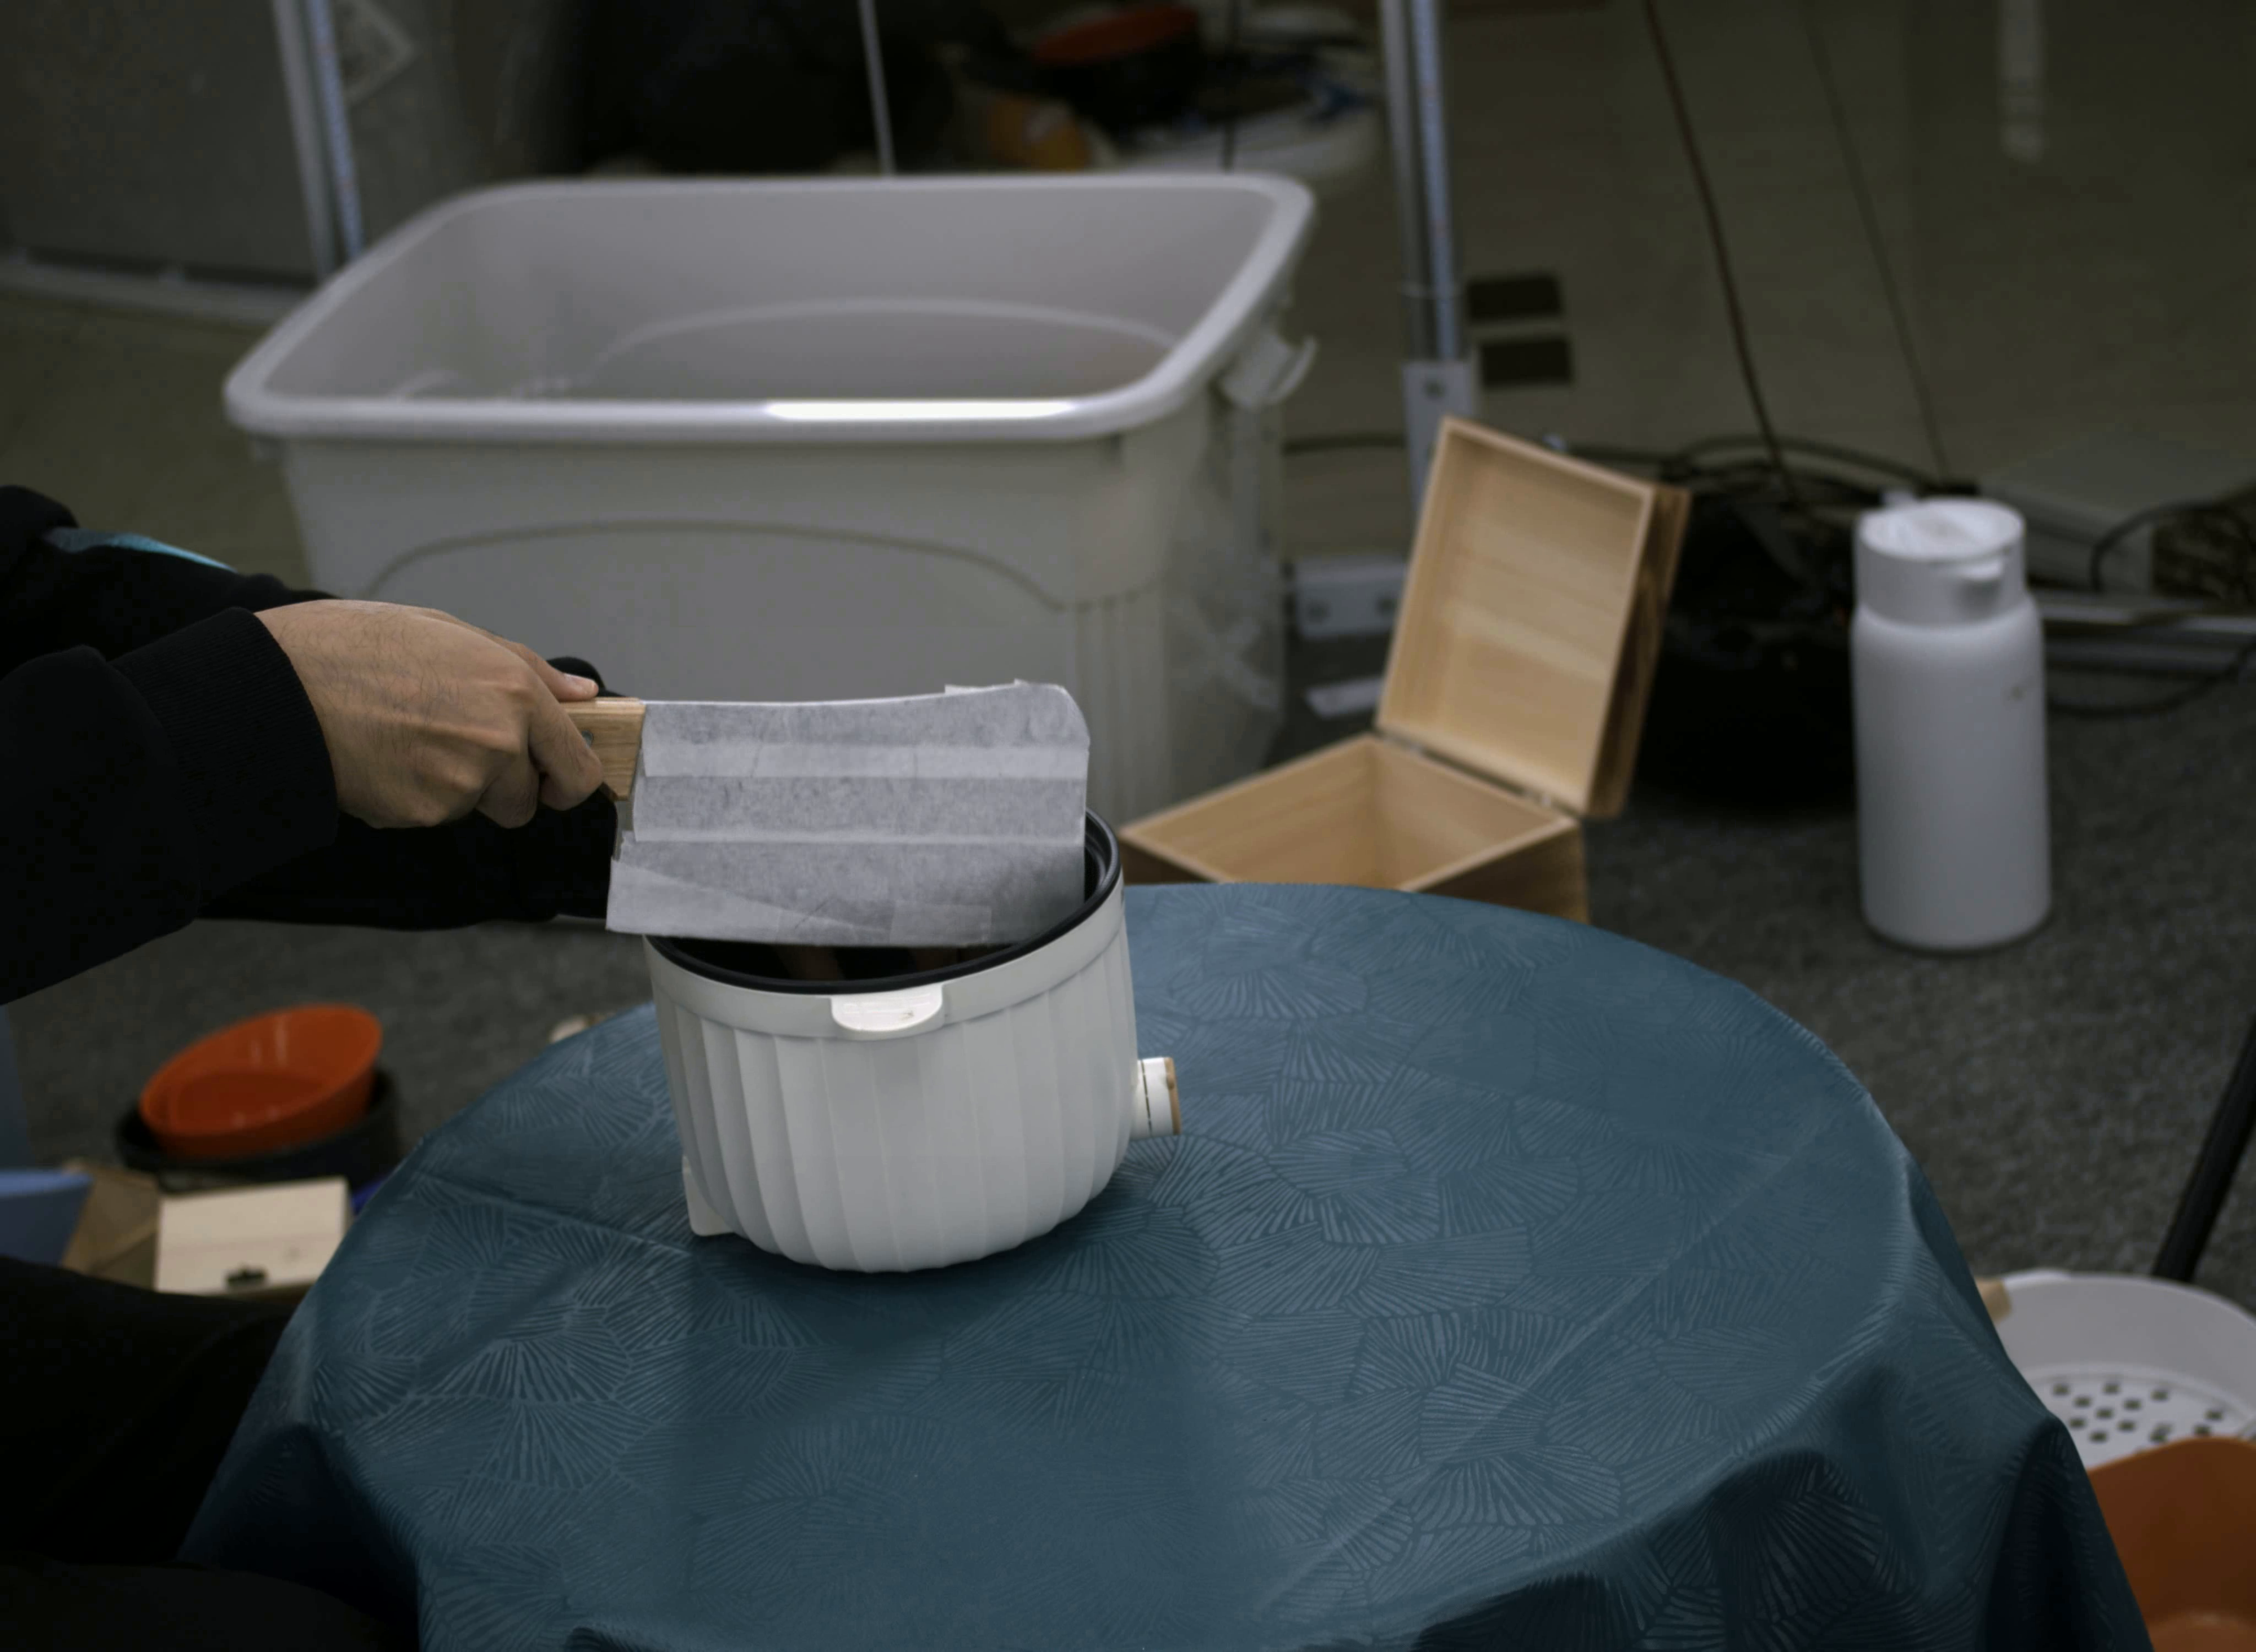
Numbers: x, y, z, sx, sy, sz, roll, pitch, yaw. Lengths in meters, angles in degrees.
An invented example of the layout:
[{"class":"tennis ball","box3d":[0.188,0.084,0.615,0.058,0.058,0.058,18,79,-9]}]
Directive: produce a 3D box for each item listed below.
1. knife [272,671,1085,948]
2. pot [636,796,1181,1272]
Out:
[{"class":"knife","box3d":[-0.156,-0.011,2.052,0.315,0.115,0.021,5,11,-22]},{"class":"pot","box3d":[-0.081,0.077,2.133,0.190,0.145,0.237,-10,26,0]}]
